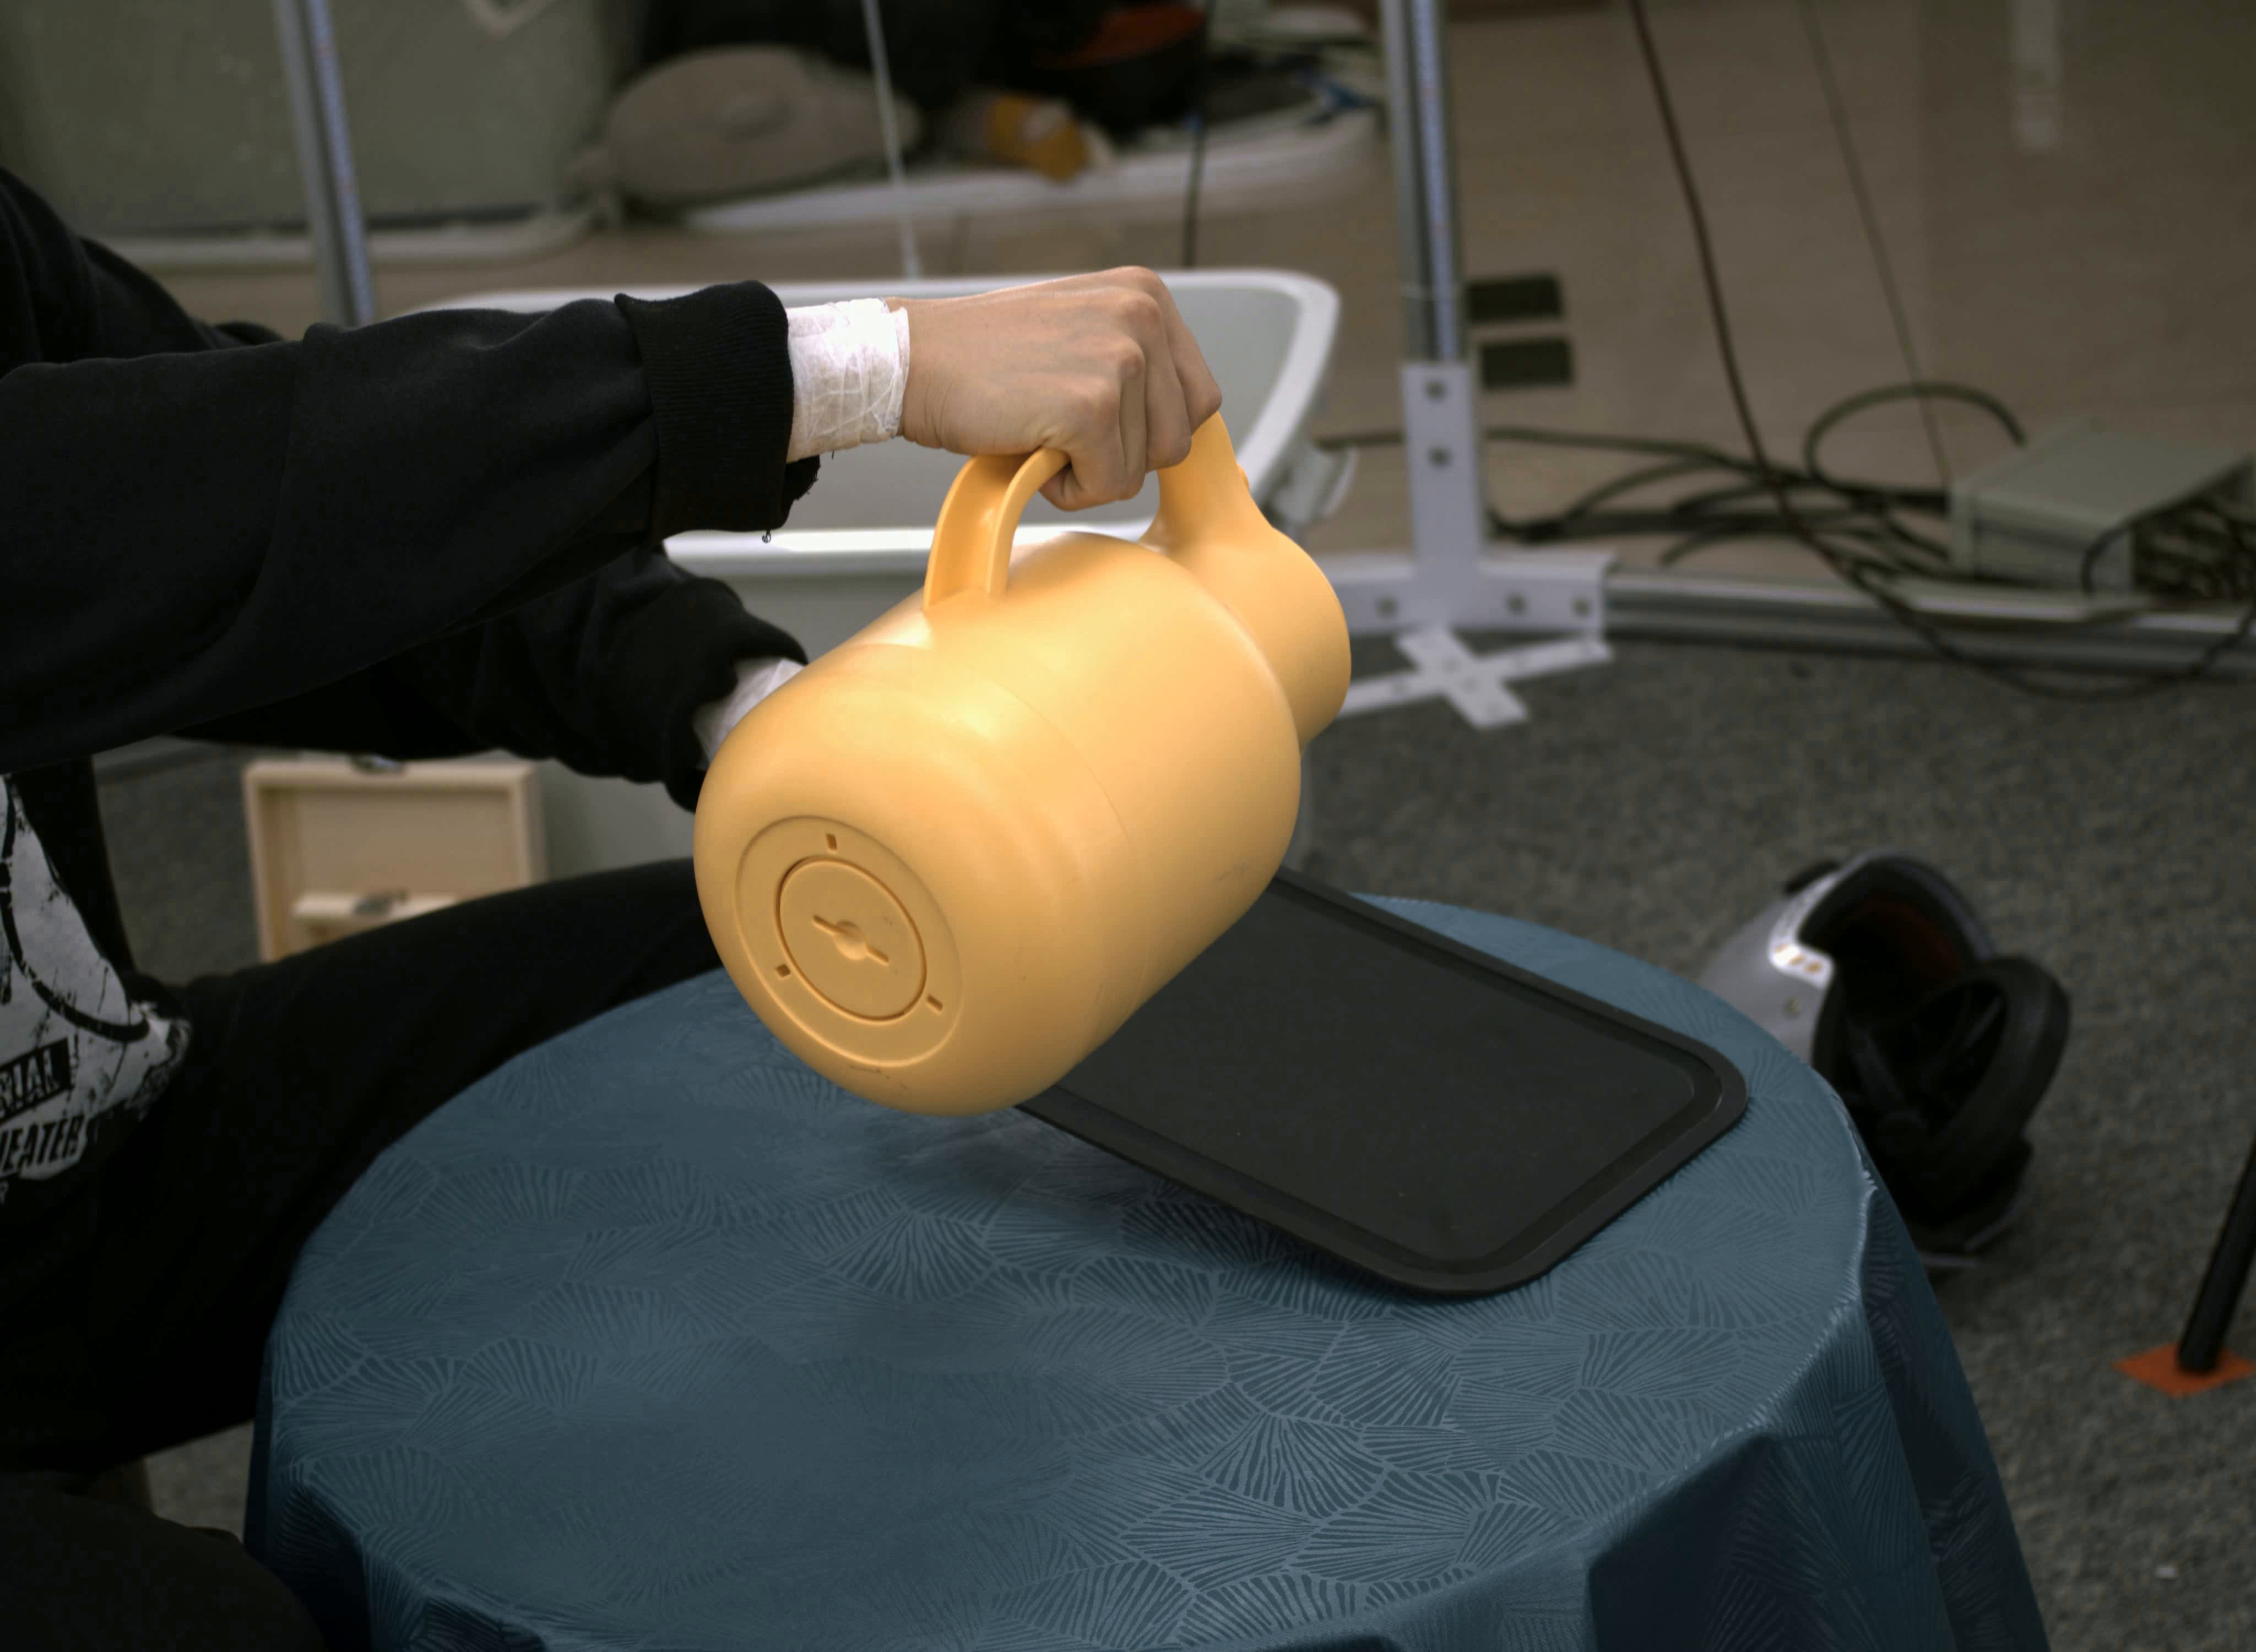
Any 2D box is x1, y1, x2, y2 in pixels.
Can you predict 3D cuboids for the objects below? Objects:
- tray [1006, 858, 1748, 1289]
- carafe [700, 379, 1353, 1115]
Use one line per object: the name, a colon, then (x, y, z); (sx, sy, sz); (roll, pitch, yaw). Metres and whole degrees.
tray: (0.063, 0.082, 2.183); (0.322, 0.010, 0.209); (24, 37, 31)
carafe: (-0.027, -0.036, 1.966); (0.163, 0.205, 0.257); (5, 29, 34)
